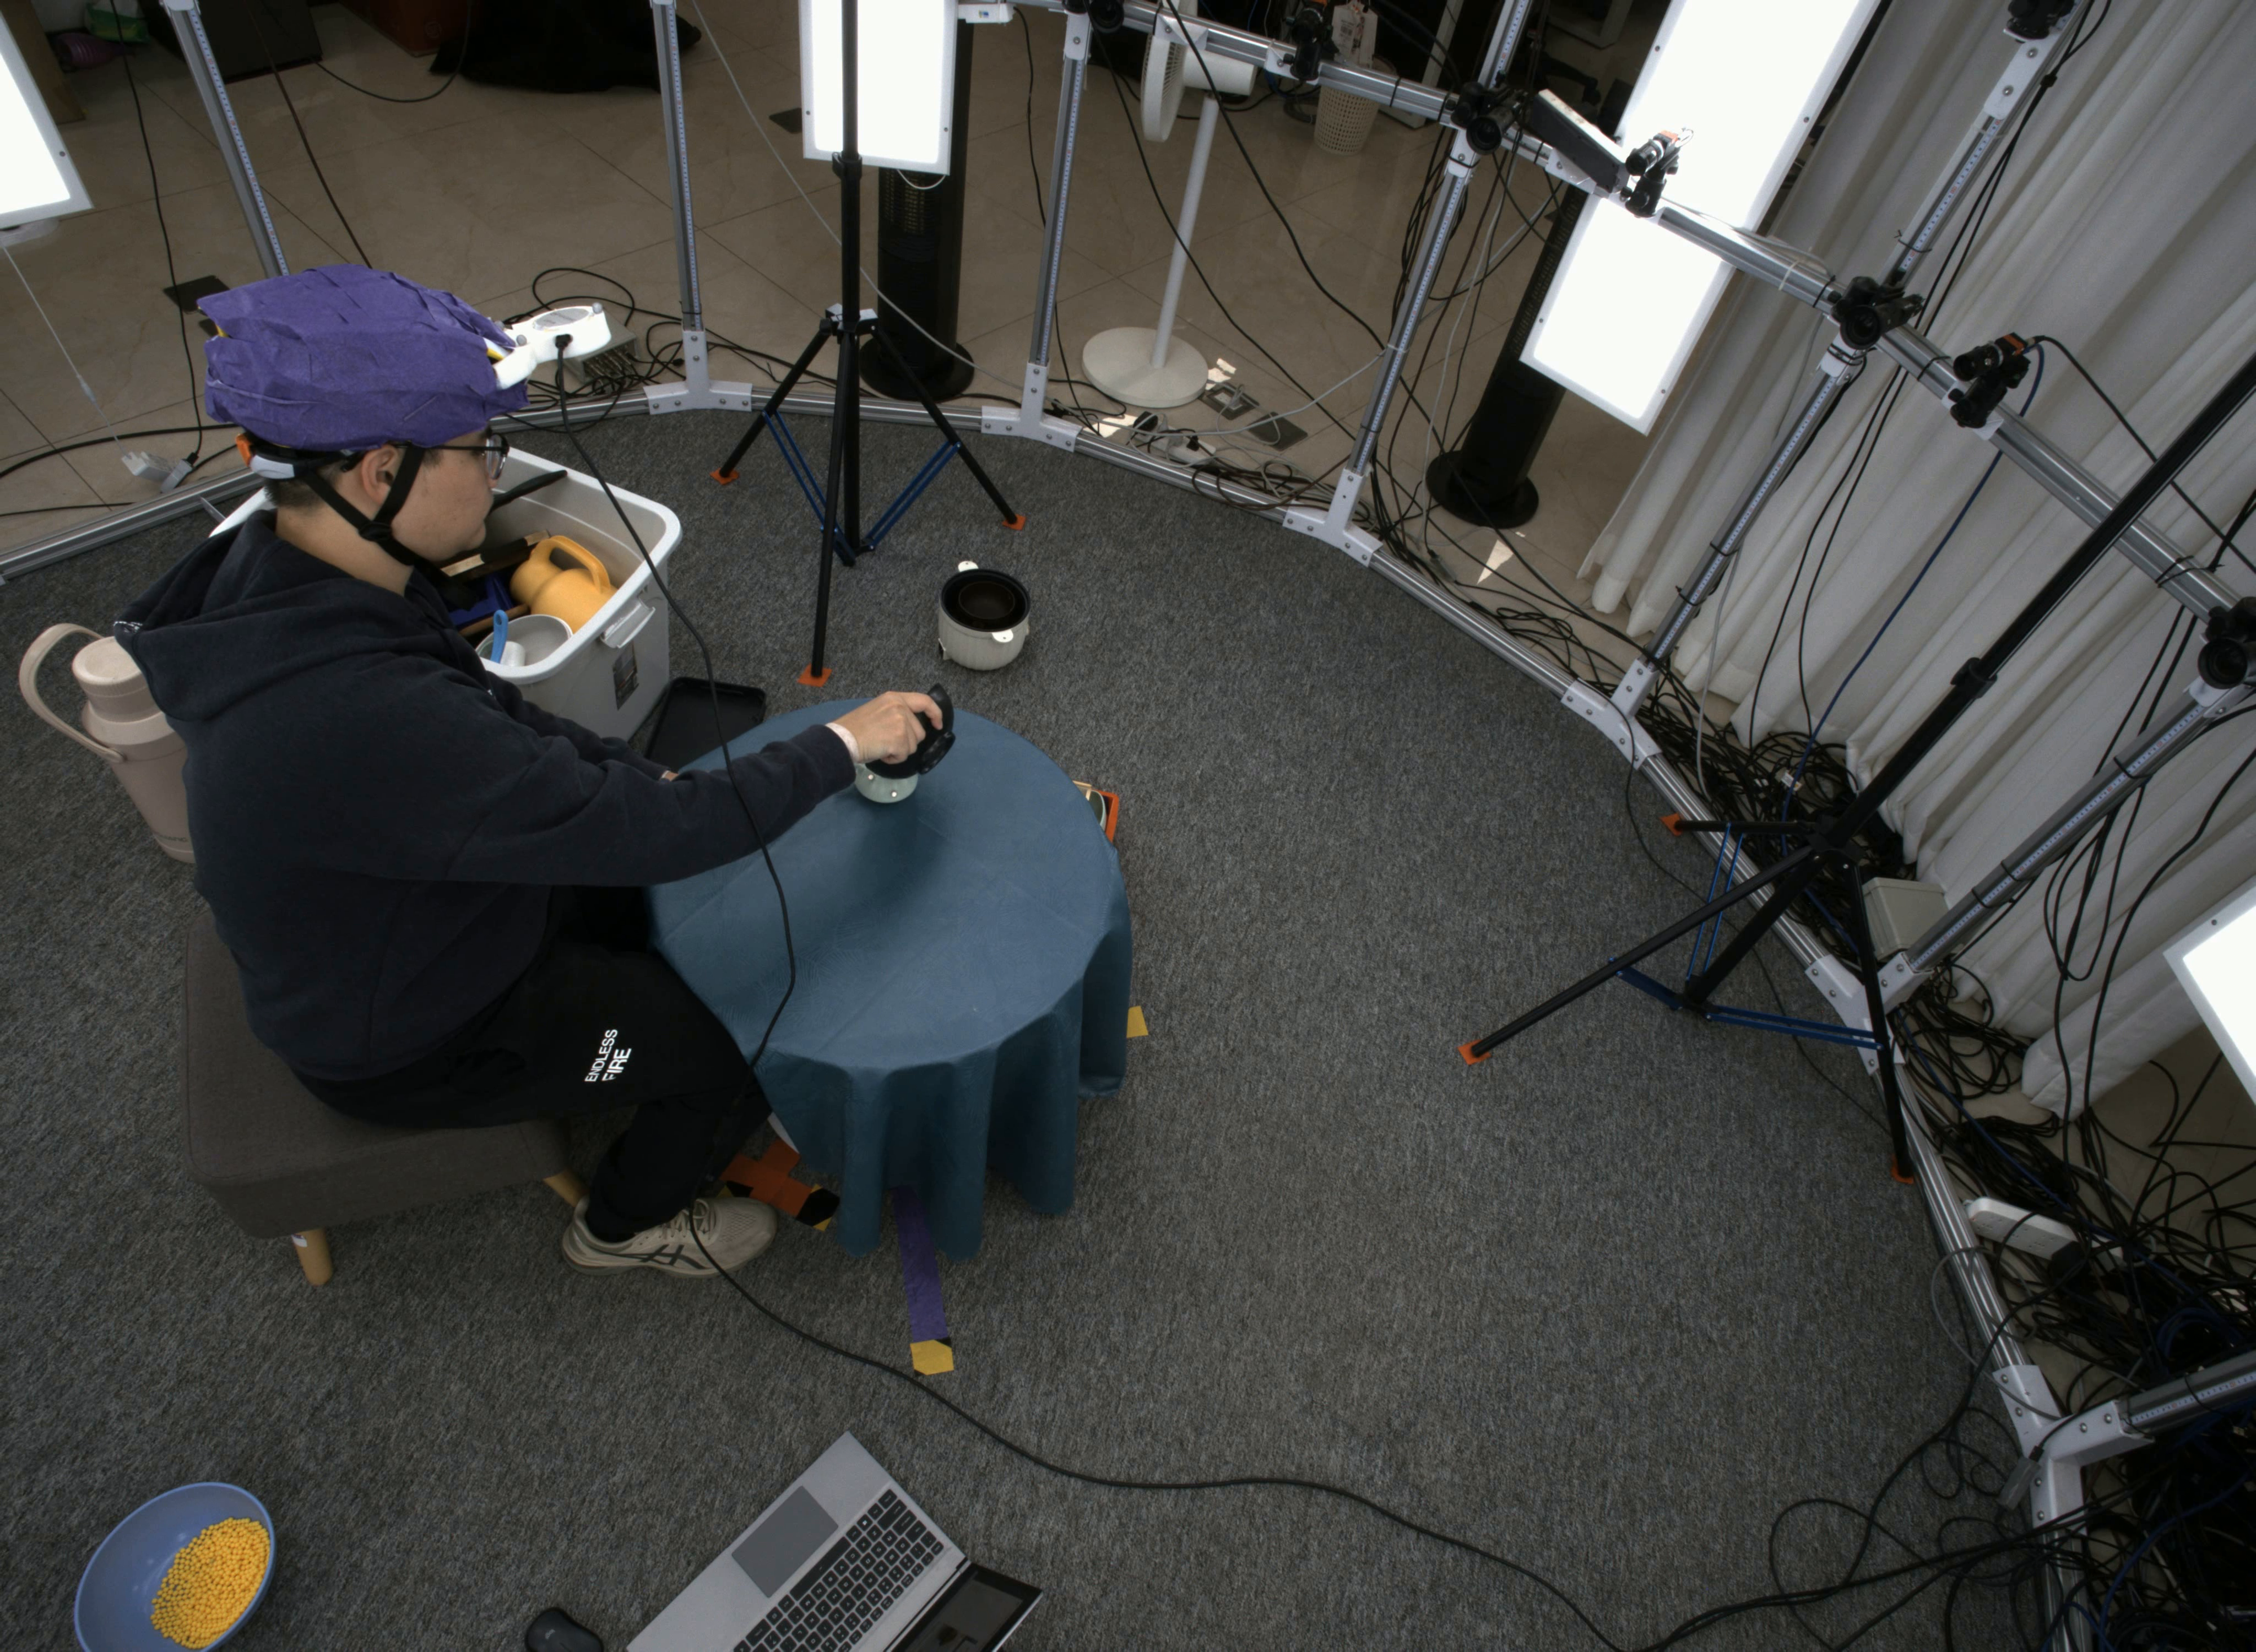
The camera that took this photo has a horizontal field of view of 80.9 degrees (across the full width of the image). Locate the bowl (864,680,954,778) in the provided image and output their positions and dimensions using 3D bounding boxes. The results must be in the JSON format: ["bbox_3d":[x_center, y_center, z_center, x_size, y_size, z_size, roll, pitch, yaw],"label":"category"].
[{"bbox_3d":[-0.268,-0.114,1.672,0.066,0.171,0.137,40,59,3],"label":"bowl"}]

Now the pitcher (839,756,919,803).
[{"bbox_3d":[-0.338,-0.071,1.759,0.108,0.062,0.084,-7,54,-17],"label":"pitcher"}]
